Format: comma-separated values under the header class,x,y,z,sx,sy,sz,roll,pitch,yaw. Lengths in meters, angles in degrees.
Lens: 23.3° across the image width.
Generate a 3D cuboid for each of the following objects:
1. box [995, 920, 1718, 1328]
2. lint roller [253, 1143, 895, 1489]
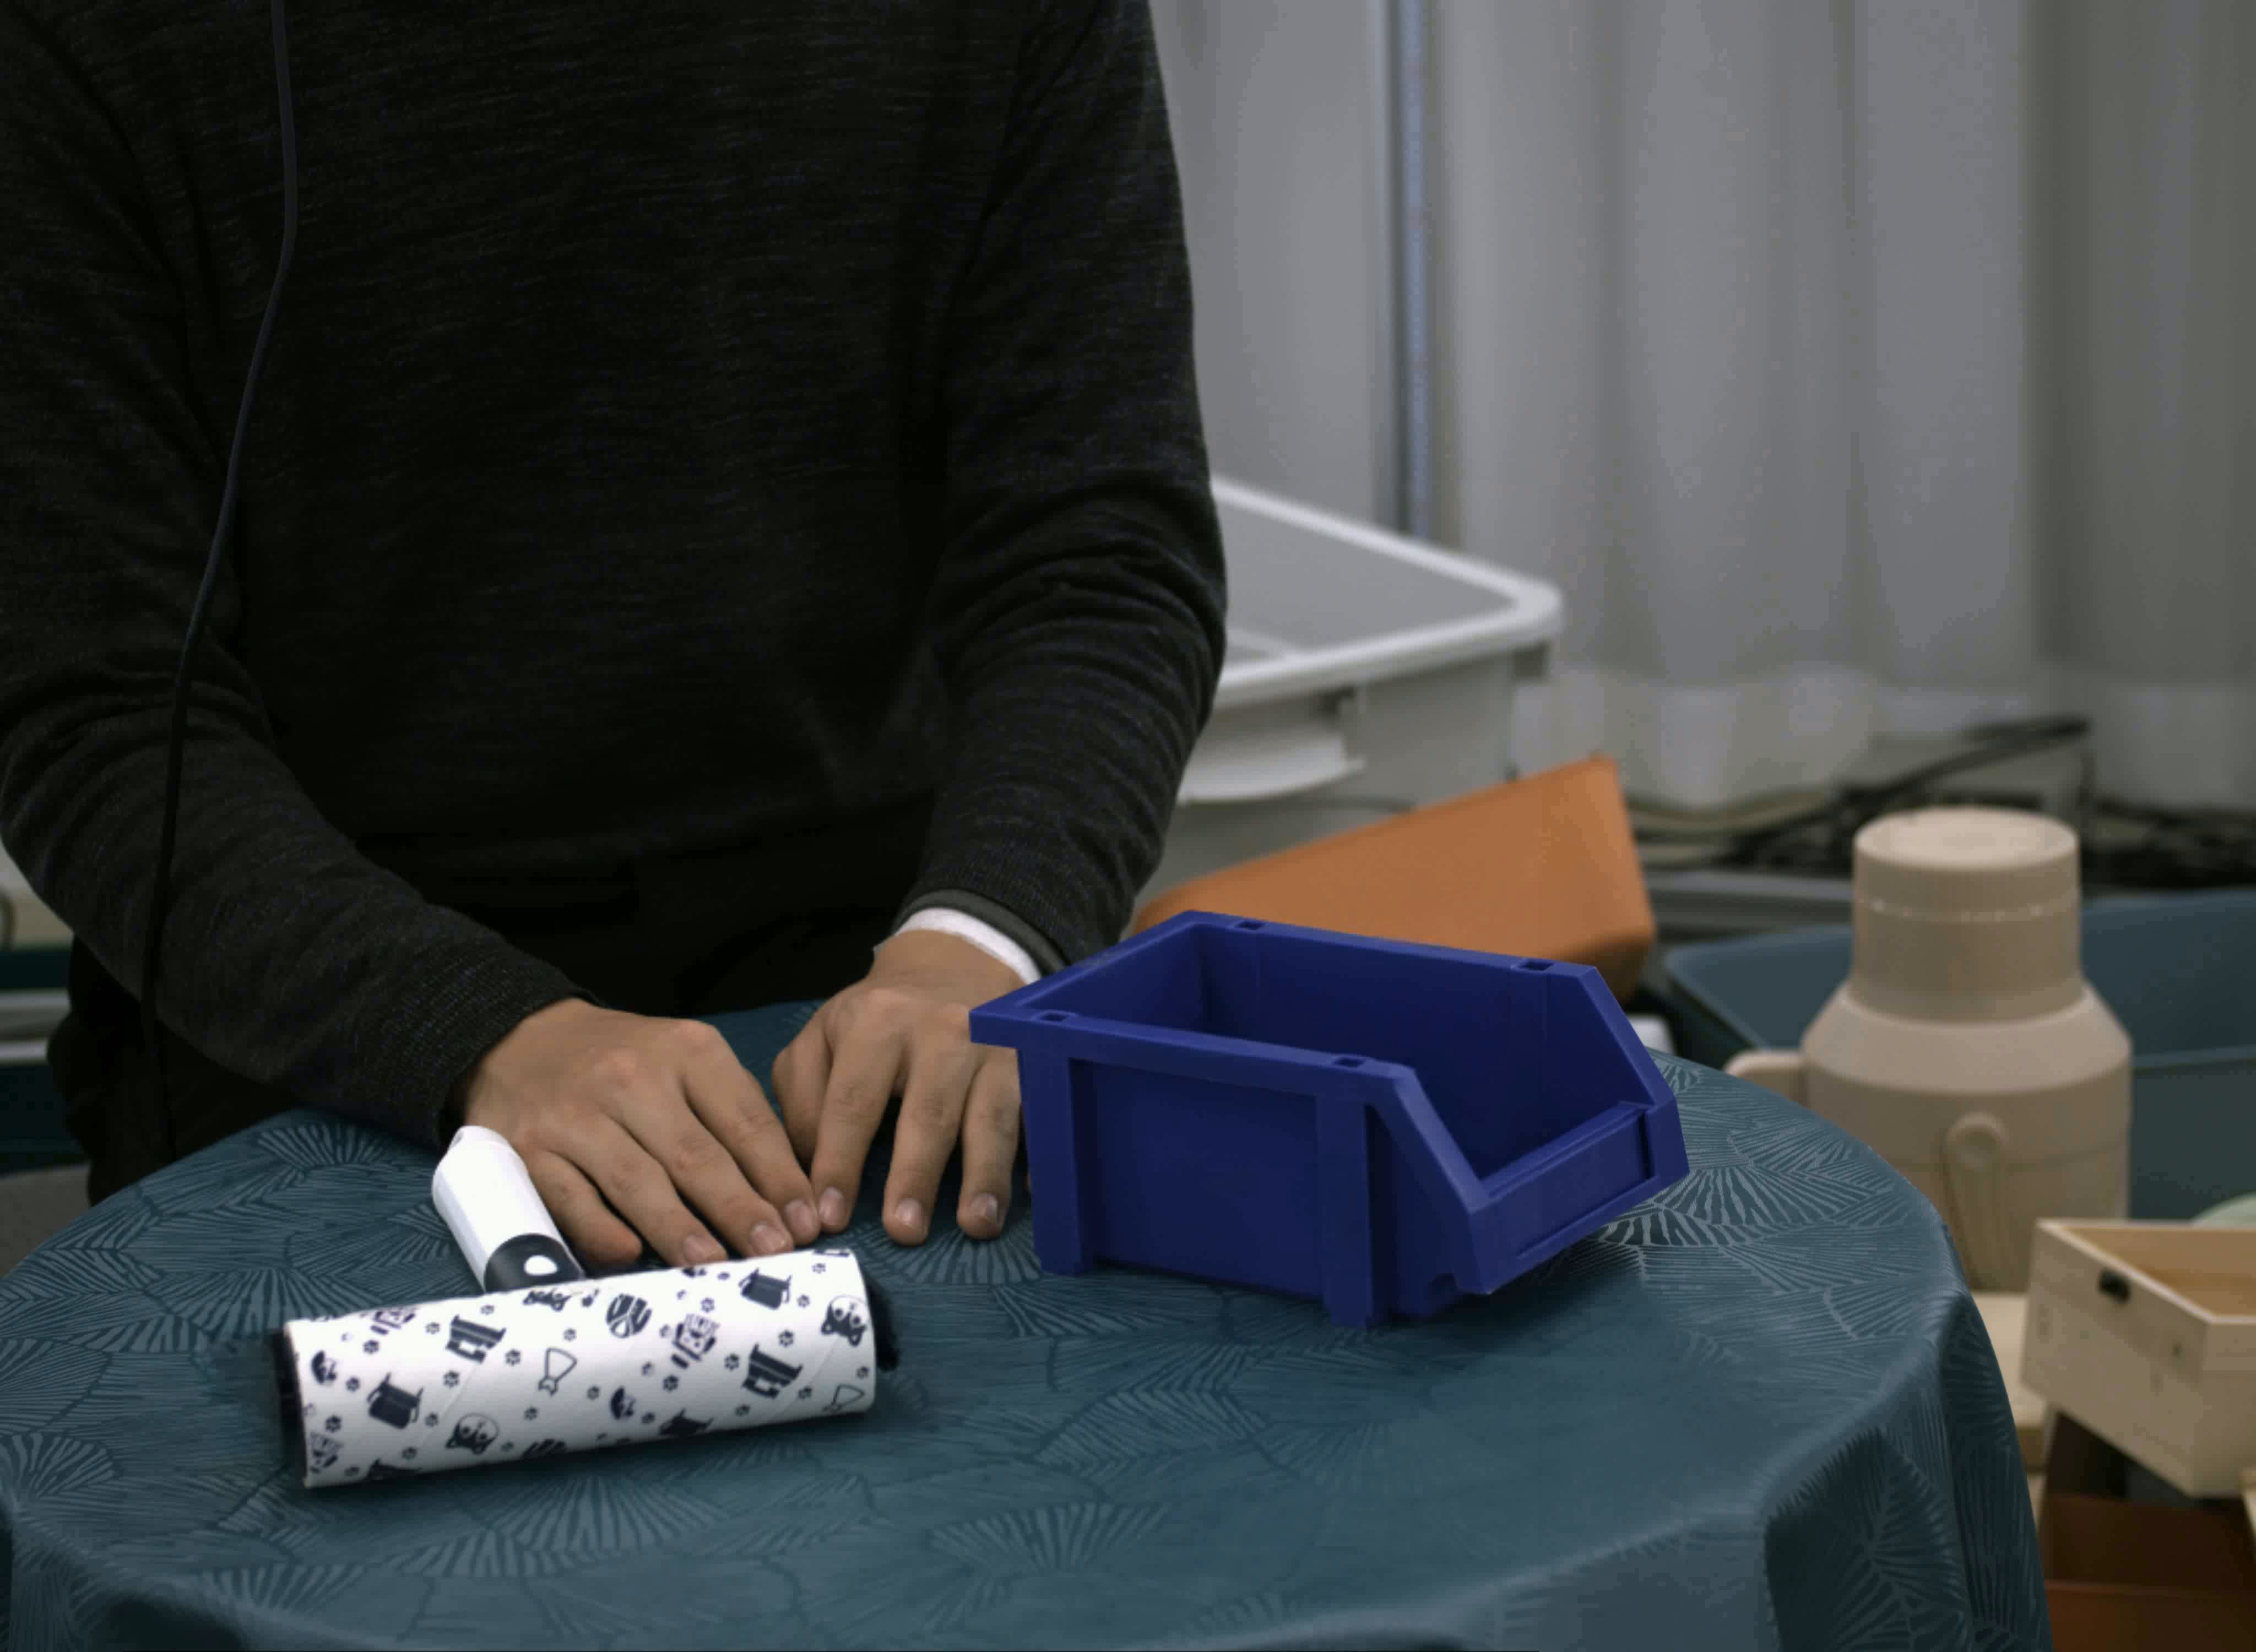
class,x,y,z,sx,sy,sz,roll,pitch,yaw
box,0.070,0.088,1.641,0.180,0.081,0.124,5,16,36
lint roller,-0.180,0.128,1.614,0.175,0.050,0.249,-8,14,-14
